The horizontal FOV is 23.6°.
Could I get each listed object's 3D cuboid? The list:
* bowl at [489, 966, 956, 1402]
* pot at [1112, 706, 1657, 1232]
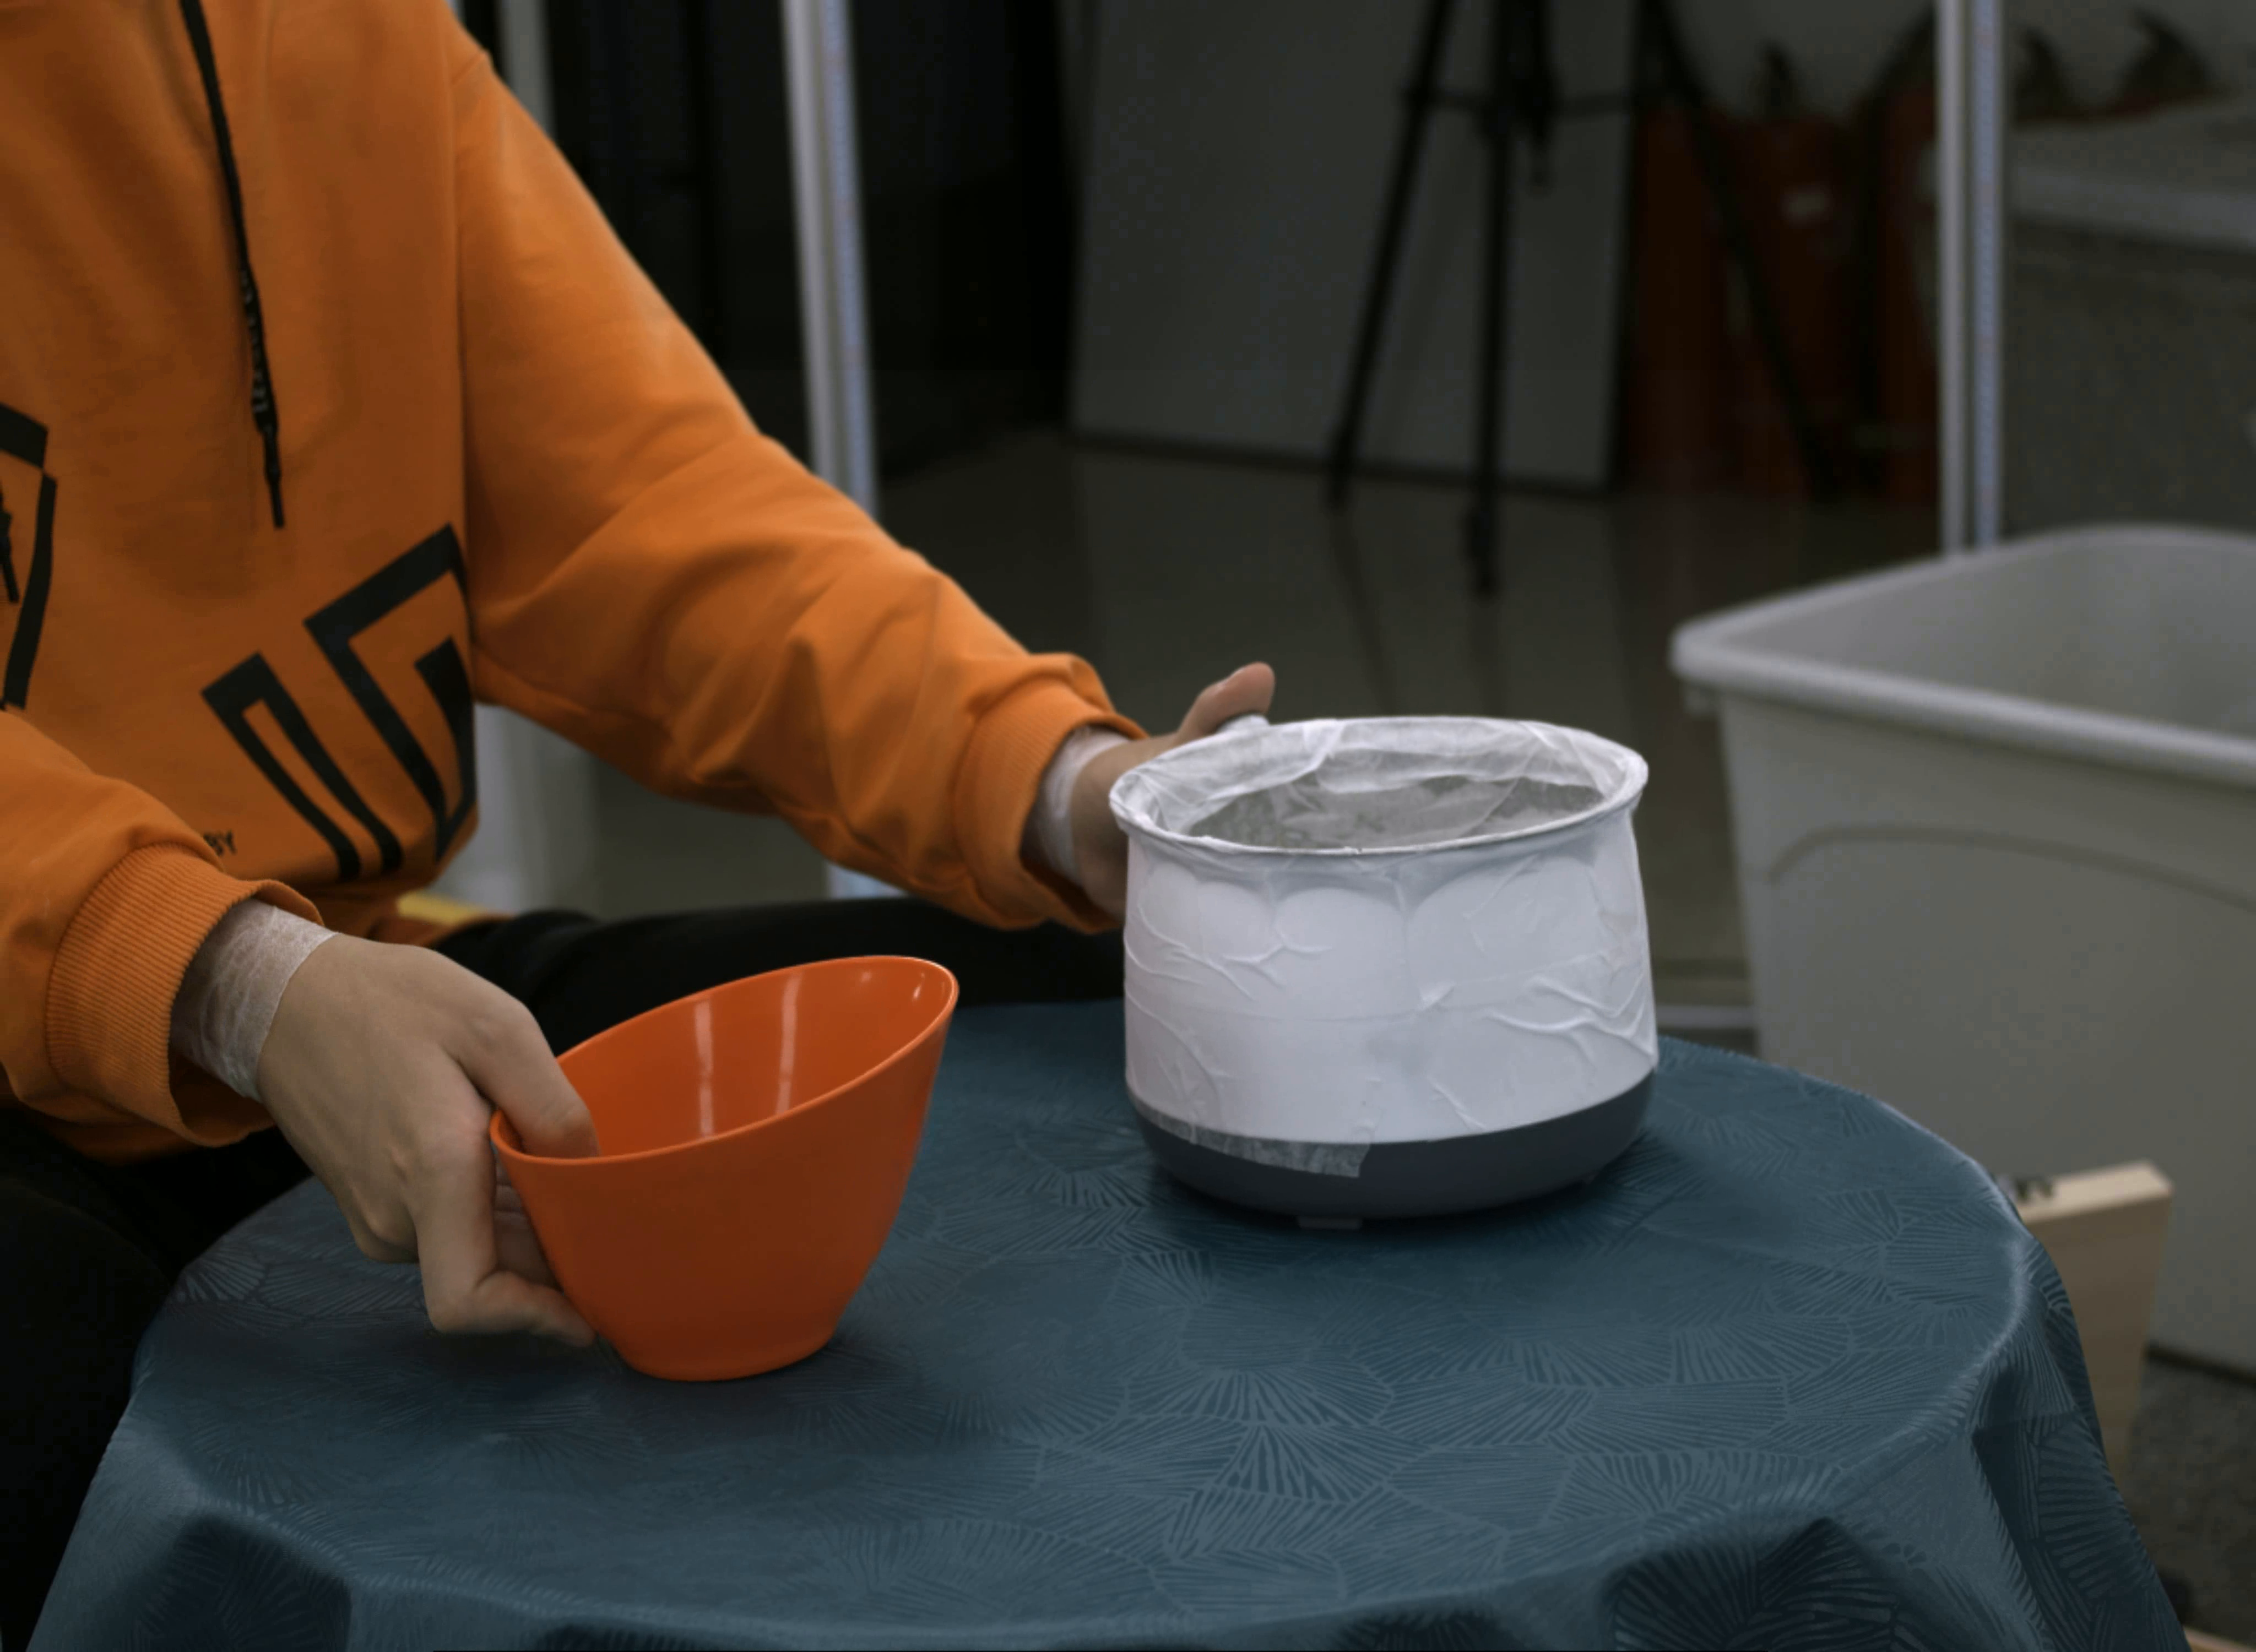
[{"bbox_3d":[-0.116,0.112,1.633,0.146,0.105,0.148,-9,15,1],"label":"bowl"},{"bbox_3d":[0.073,0.040,1.787,0.175,0.138,0.236,-9,15,-24],"label":"pot"}]
